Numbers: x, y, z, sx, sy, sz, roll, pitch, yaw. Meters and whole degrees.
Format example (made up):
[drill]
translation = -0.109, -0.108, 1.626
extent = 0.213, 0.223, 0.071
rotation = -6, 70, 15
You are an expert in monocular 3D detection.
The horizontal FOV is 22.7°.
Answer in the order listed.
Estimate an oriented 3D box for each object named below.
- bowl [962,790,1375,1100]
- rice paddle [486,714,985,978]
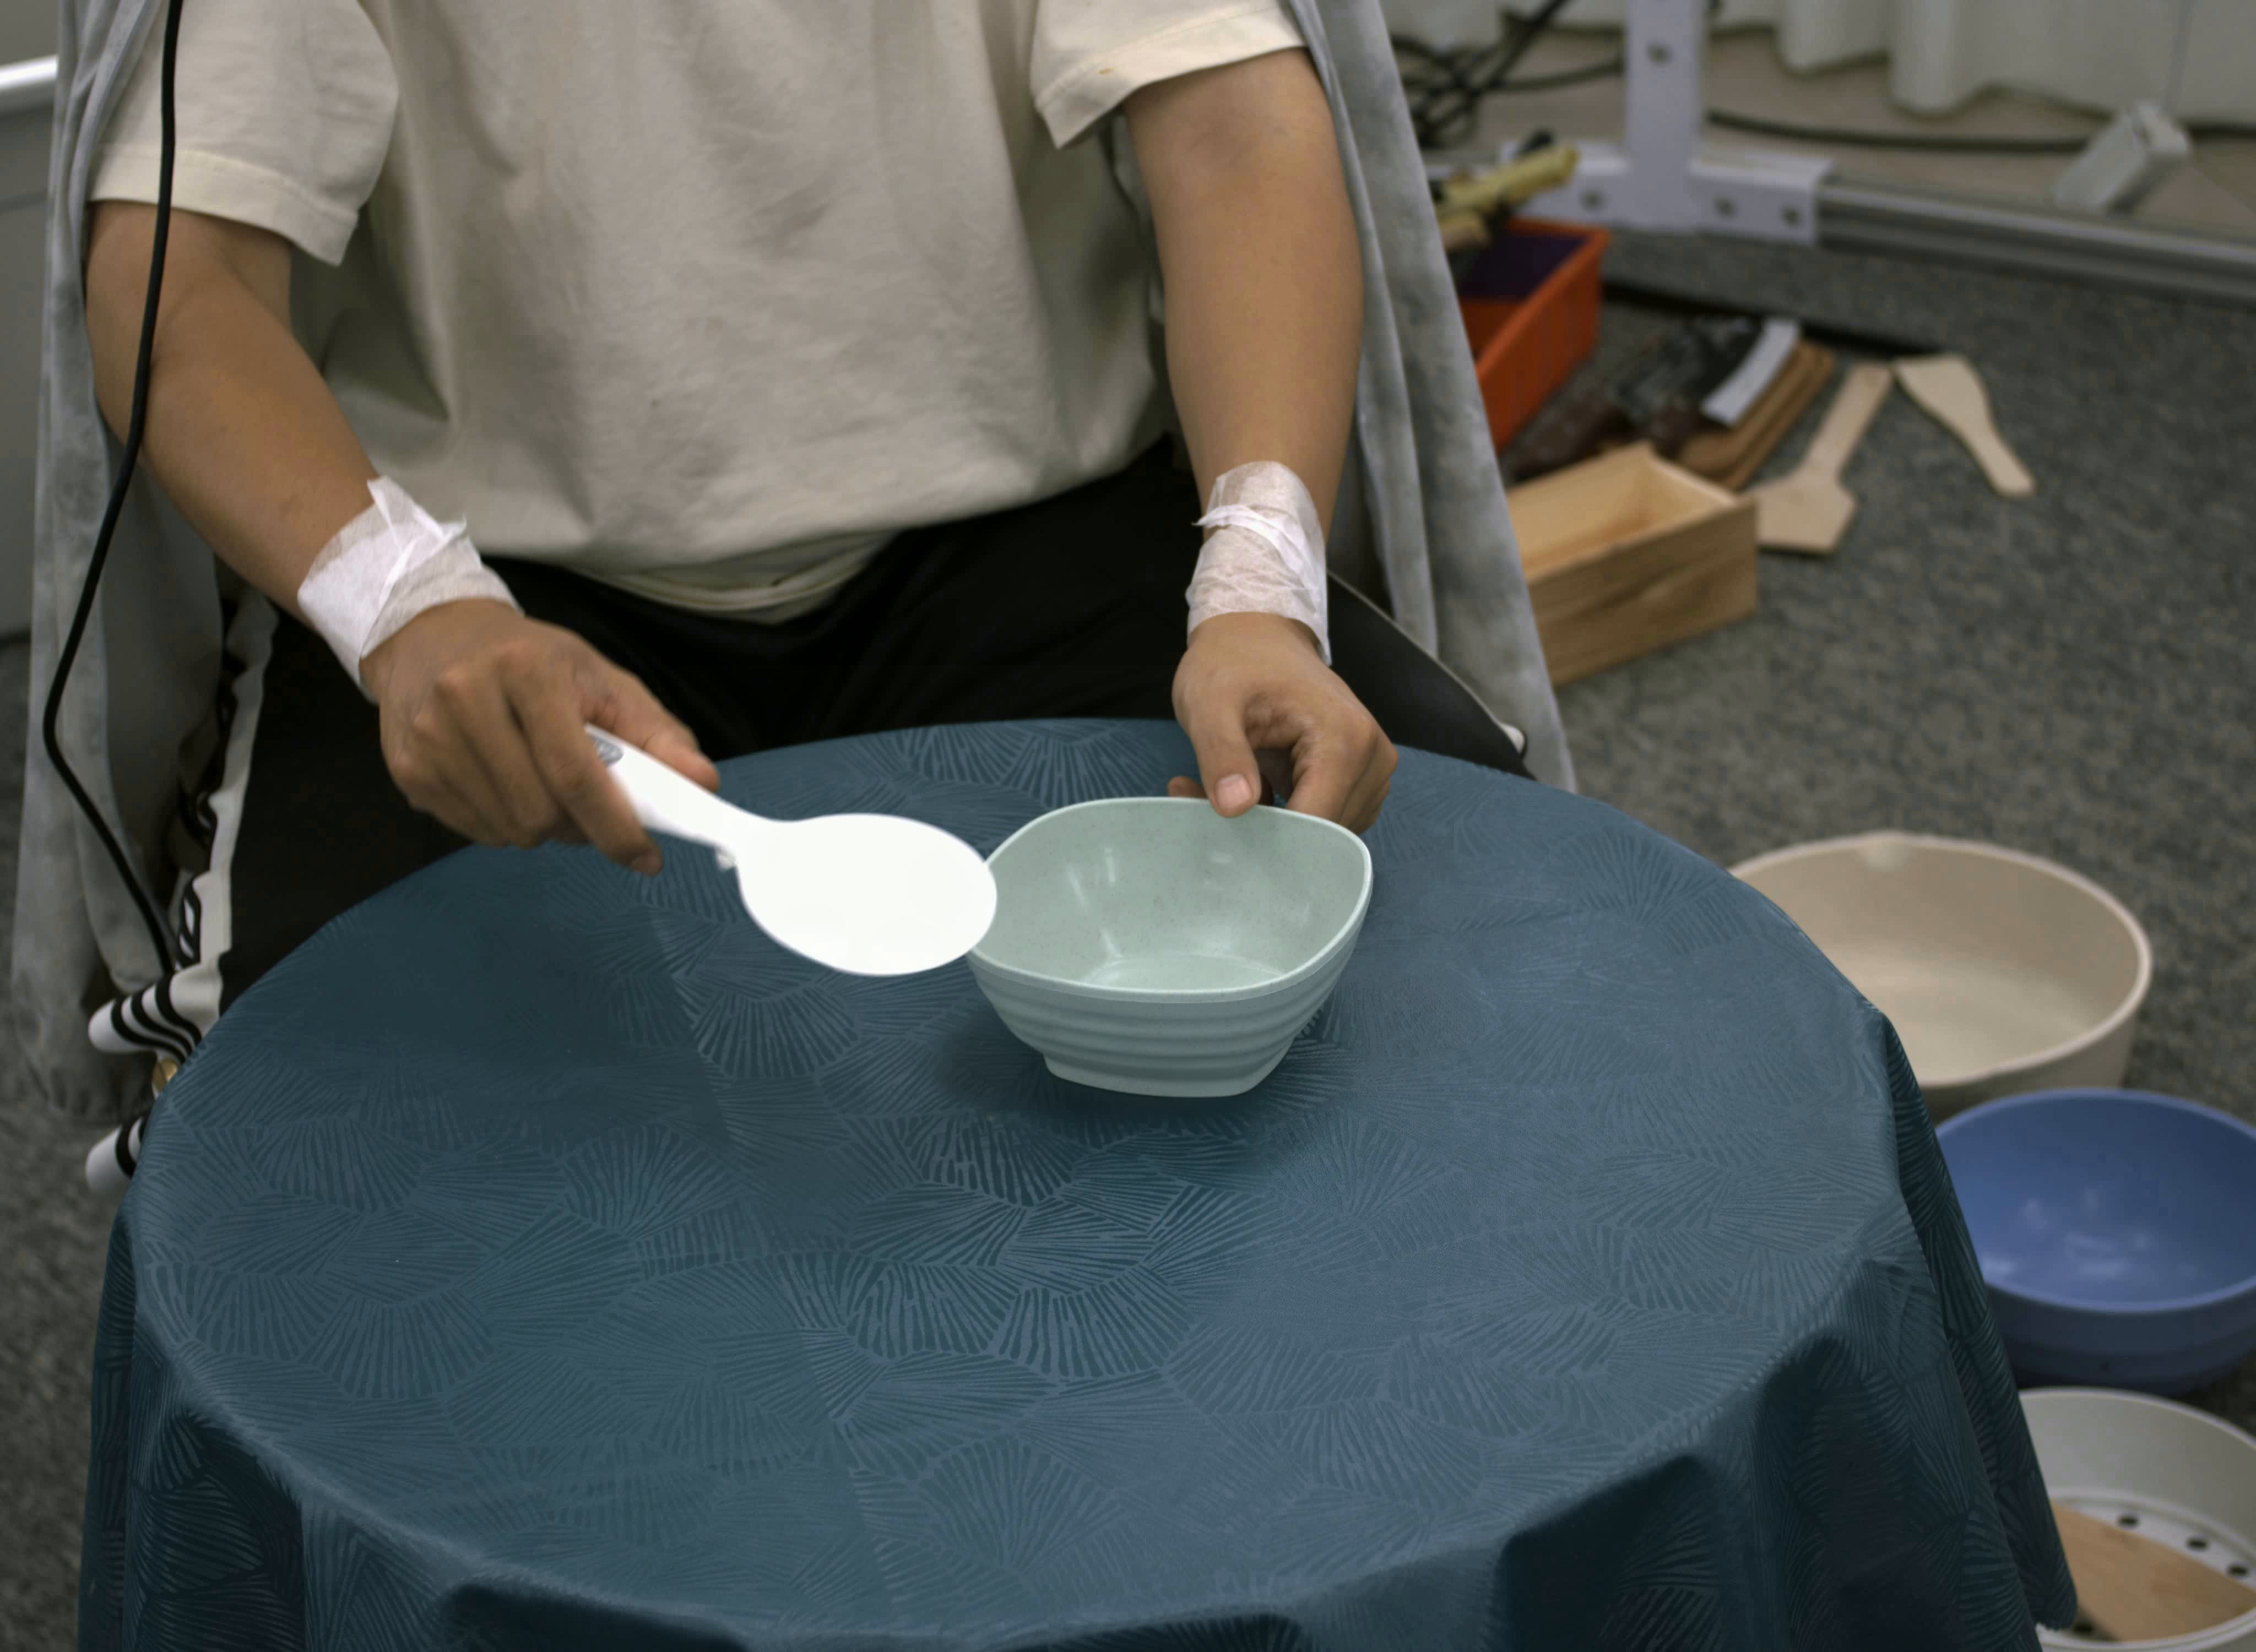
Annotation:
[bowl]
translation = 0.016, 0.047, 1.941
extent = 0.150, 0.058, 0.154
rotation = -3, 29, 2
[rice paddle]
translation = -0.132, 0.006, 1.883
extent = 0.205, 0.029, 0.070
rotation = 21, 51, 34
